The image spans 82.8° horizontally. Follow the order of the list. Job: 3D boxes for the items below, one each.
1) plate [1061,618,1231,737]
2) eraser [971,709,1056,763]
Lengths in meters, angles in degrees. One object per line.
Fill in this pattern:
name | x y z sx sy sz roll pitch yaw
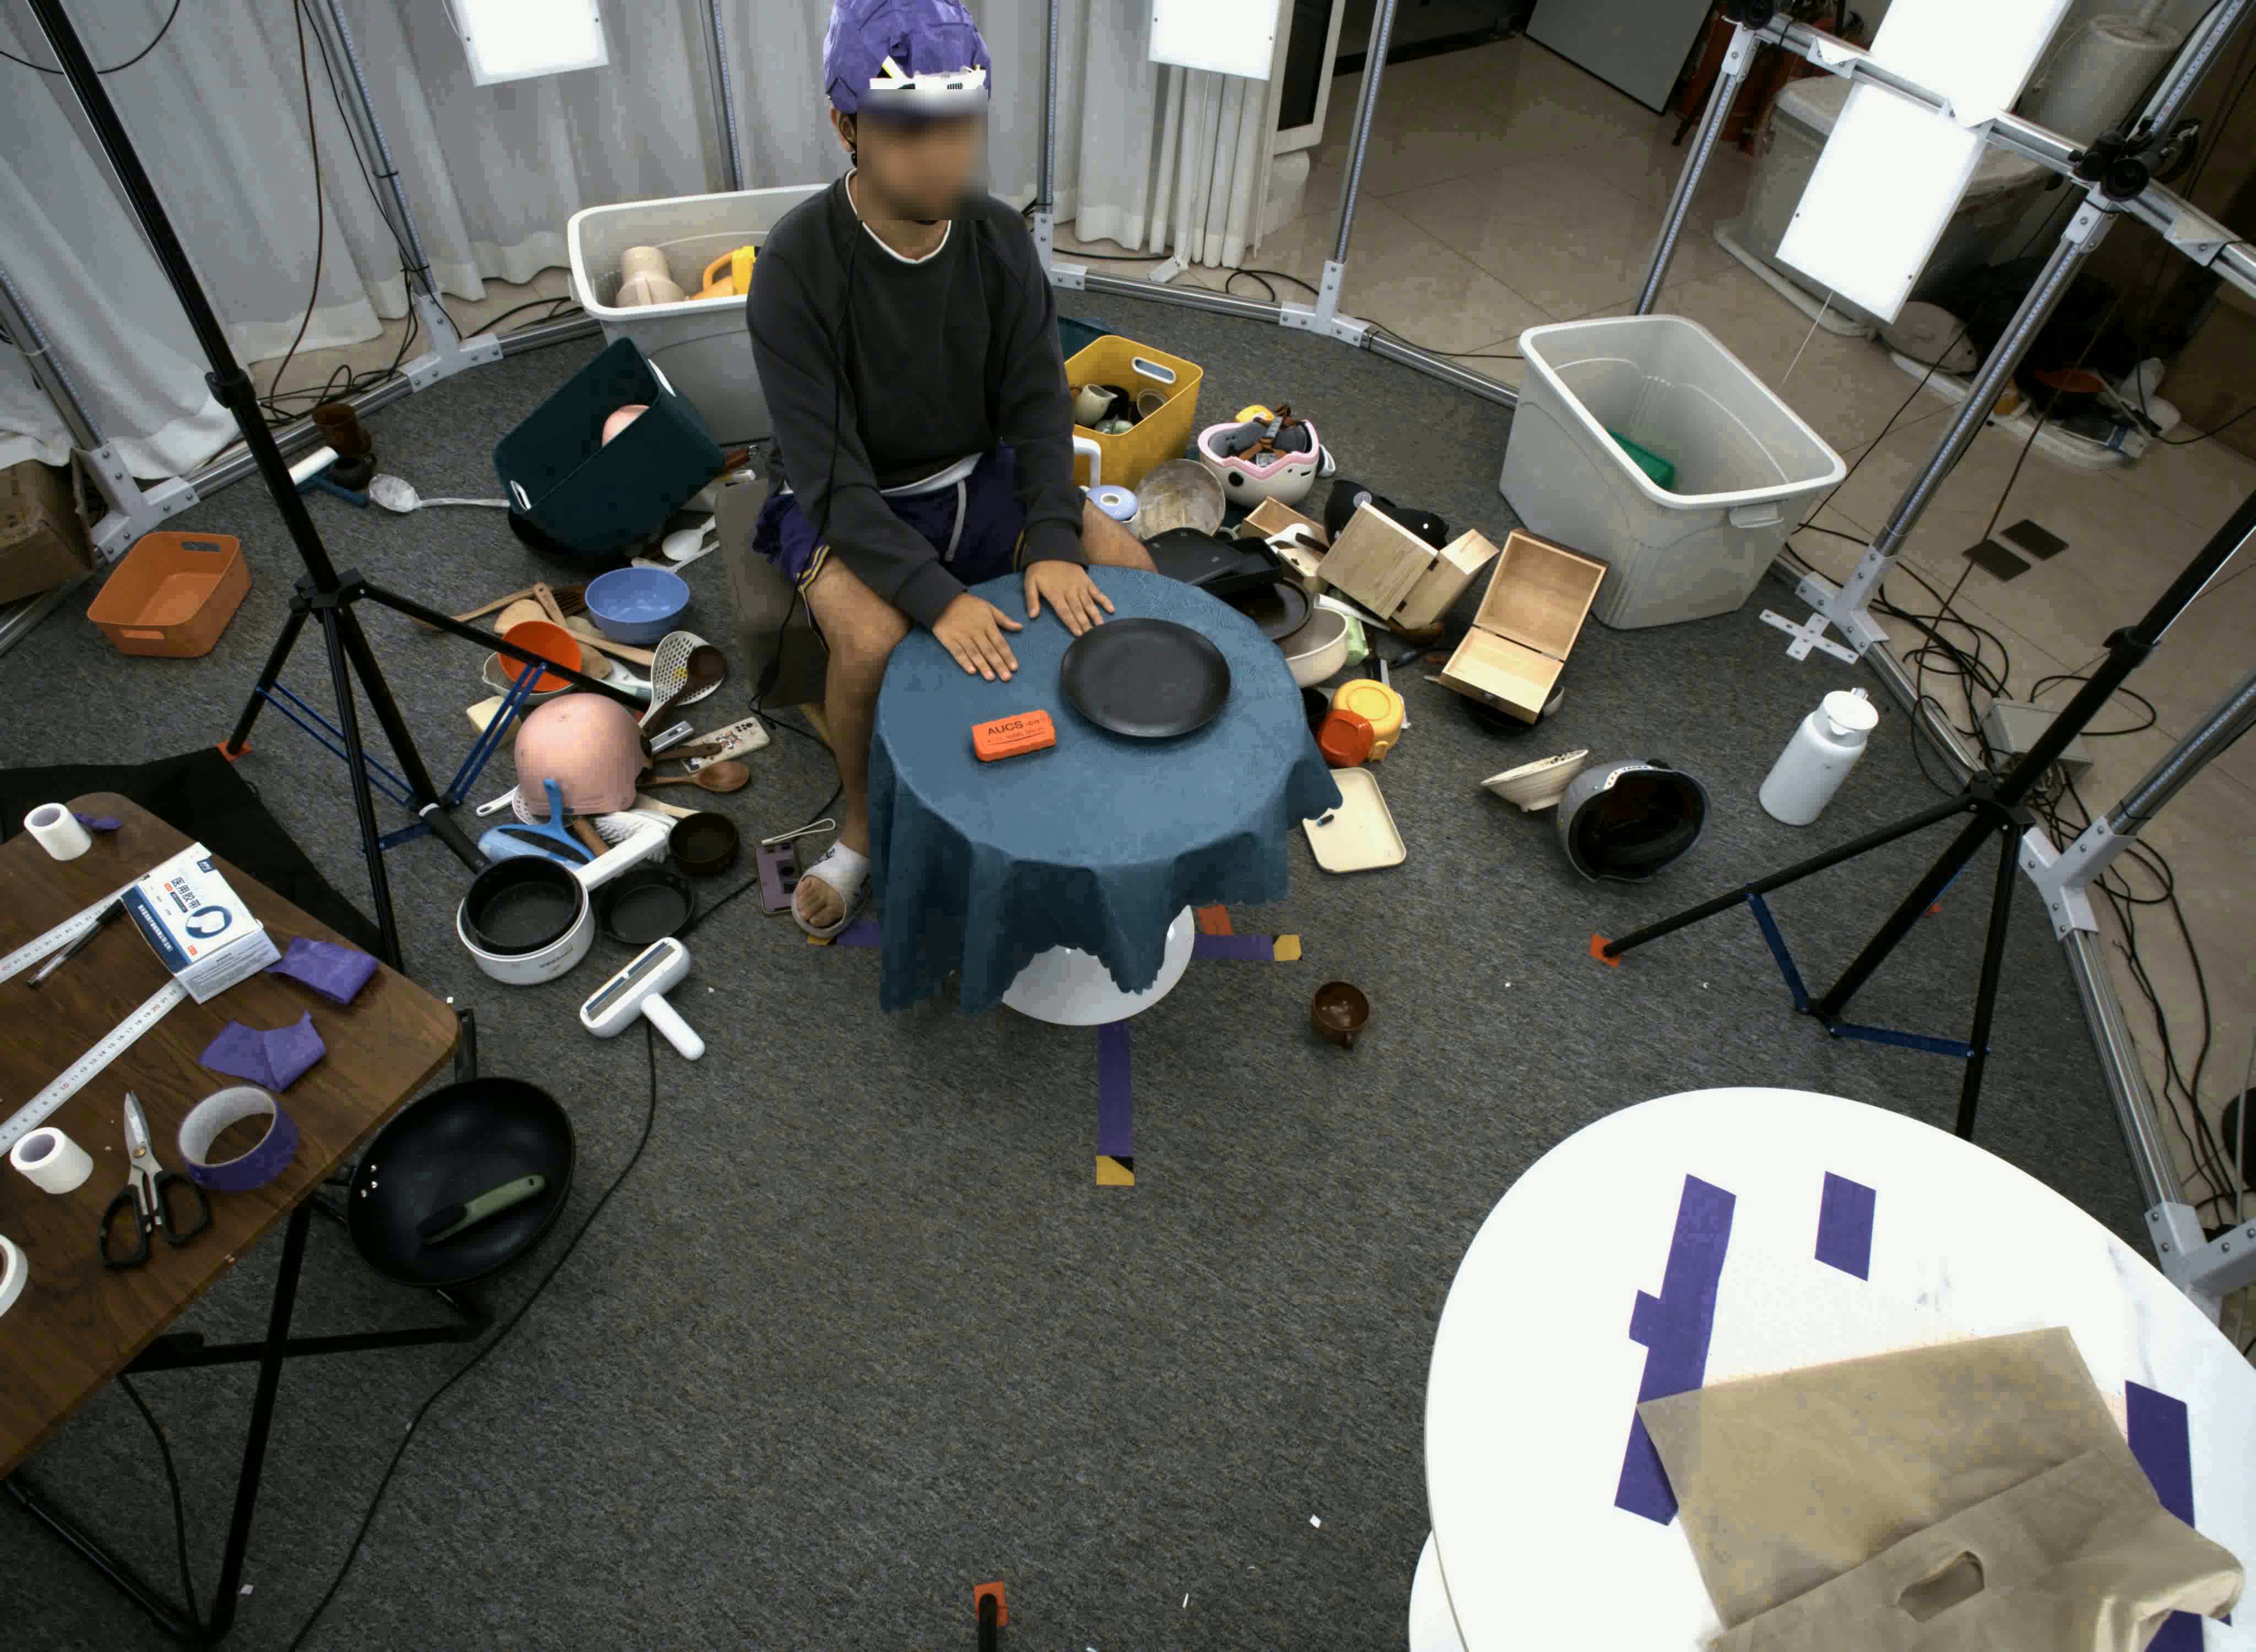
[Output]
plate | 0.026 -0.210 1.836 0.244 0.023 0.250 2 49 -2
eraser | -0.155 -0.123 1.743 0.108 0.022 0.060 -14 52 -18
